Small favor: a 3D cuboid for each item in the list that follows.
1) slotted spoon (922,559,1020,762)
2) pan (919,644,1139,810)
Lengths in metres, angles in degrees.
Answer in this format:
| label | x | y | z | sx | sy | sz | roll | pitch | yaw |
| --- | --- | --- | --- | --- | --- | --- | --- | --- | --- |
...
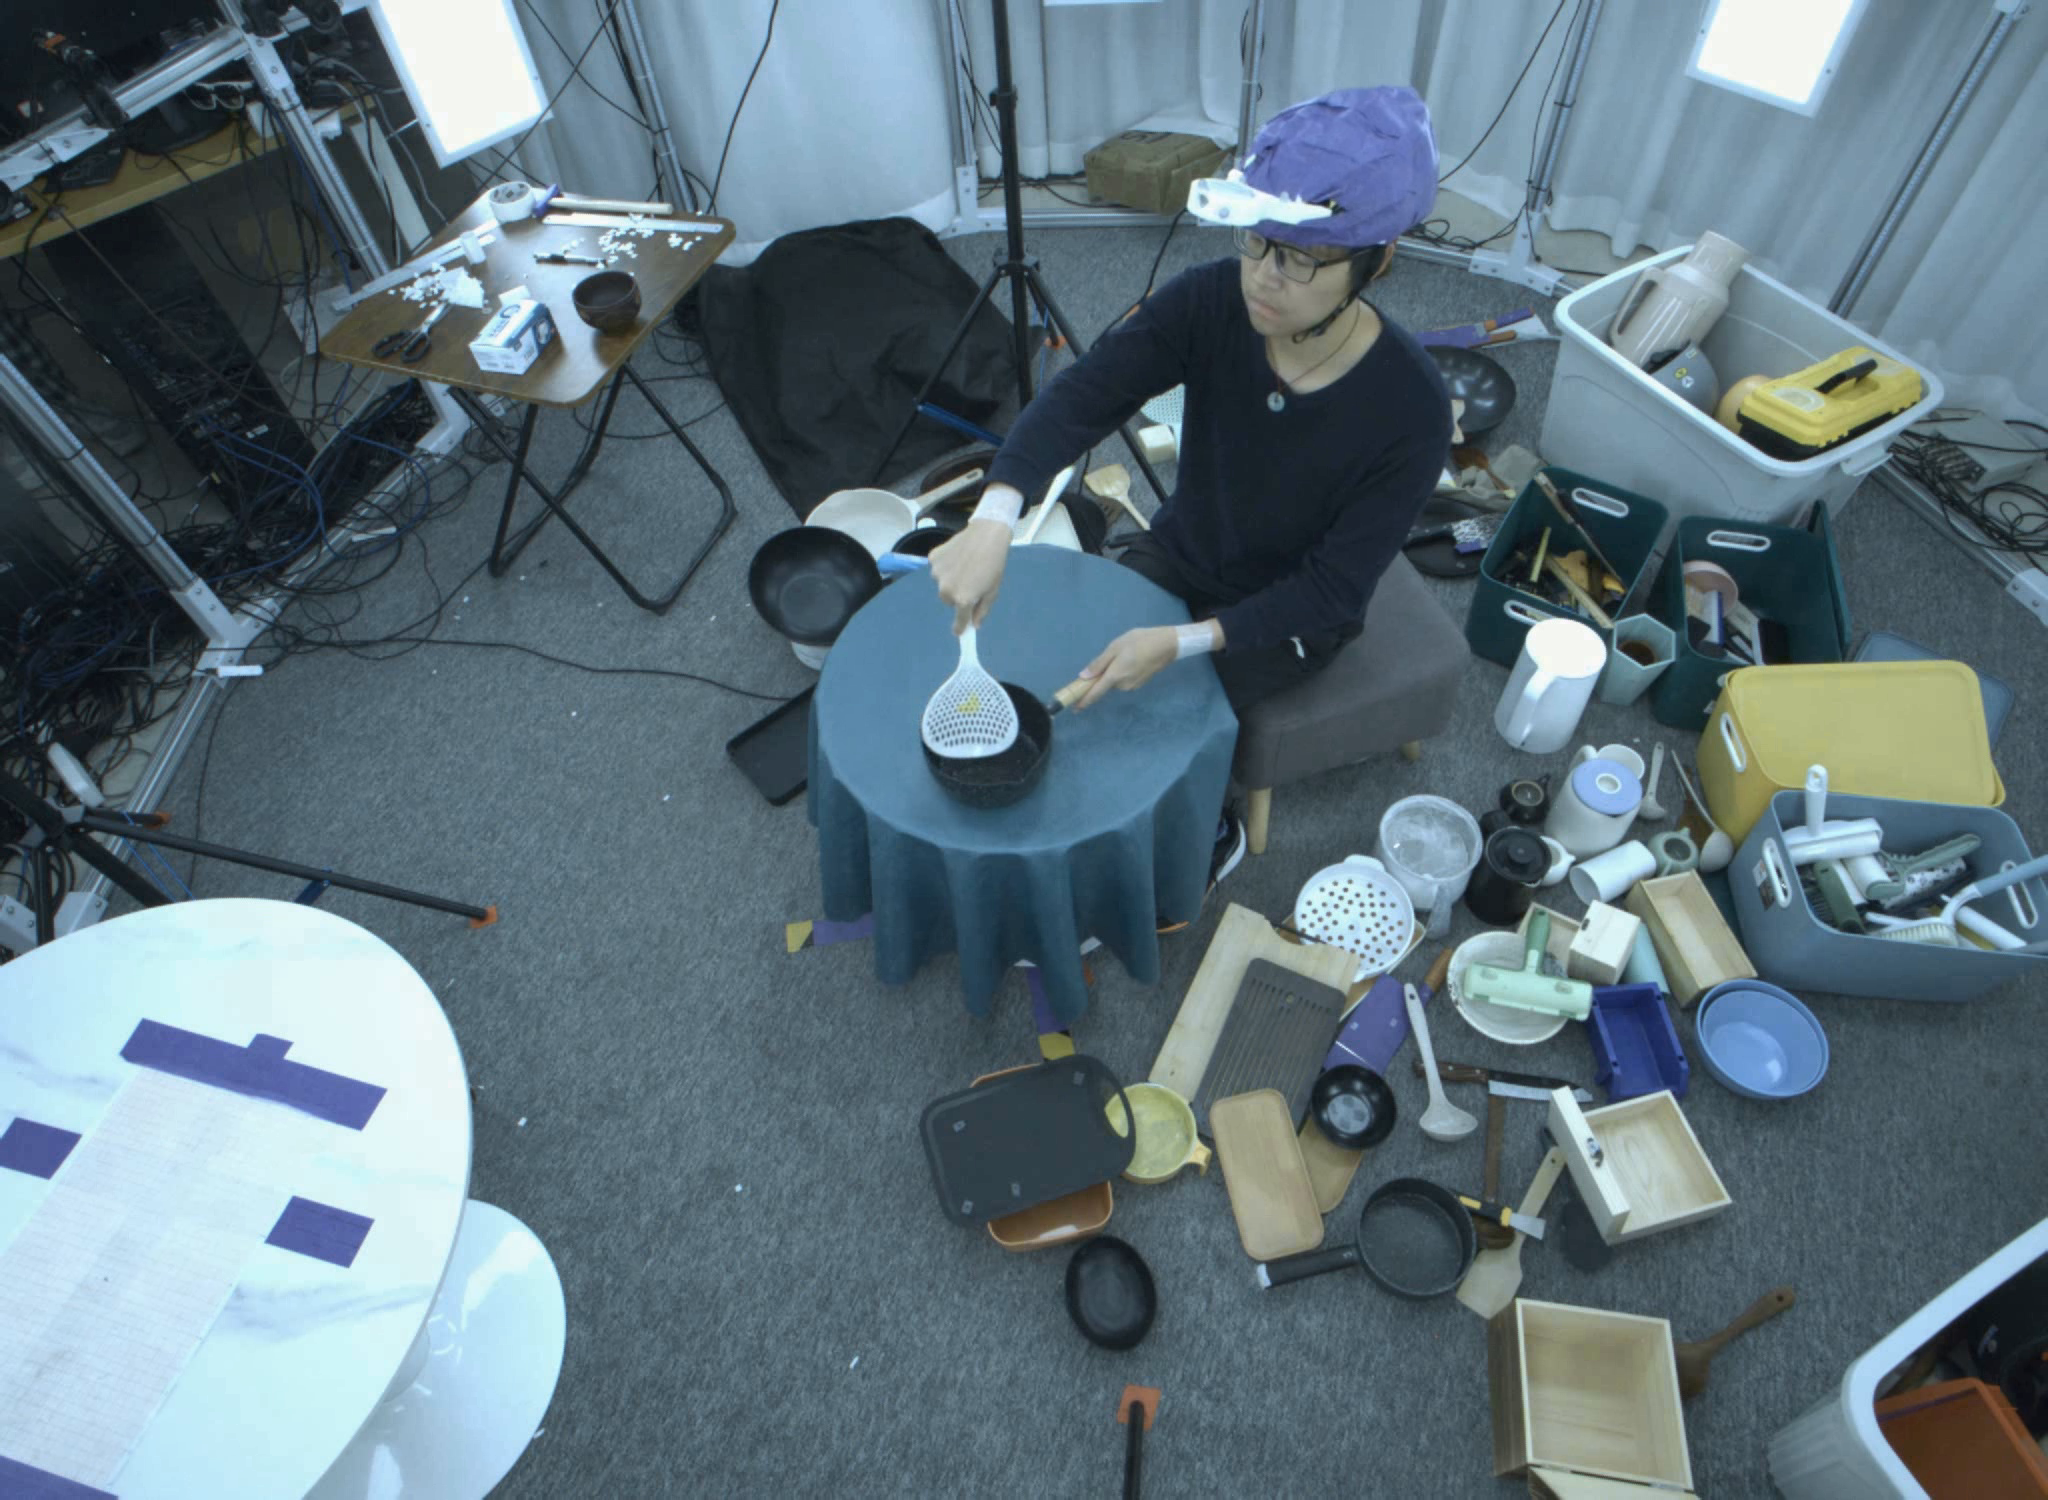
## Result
| label | x | y | z | sx | sy | sz | roll | pitch | yaw |
| --- | --- | --- | --- | --- | --- | --- | --- | --- | --- |
| slotted spoon | -0.078 | -0.109 | 1.637 | 0.137 | 0.351 | 0.049 | -5 | 52 | -3 |
| pan | 0.016 | -0.043 | 1.751 | 0.345 | 0.109 | 0.203 | -29 | 57 | -16 |
